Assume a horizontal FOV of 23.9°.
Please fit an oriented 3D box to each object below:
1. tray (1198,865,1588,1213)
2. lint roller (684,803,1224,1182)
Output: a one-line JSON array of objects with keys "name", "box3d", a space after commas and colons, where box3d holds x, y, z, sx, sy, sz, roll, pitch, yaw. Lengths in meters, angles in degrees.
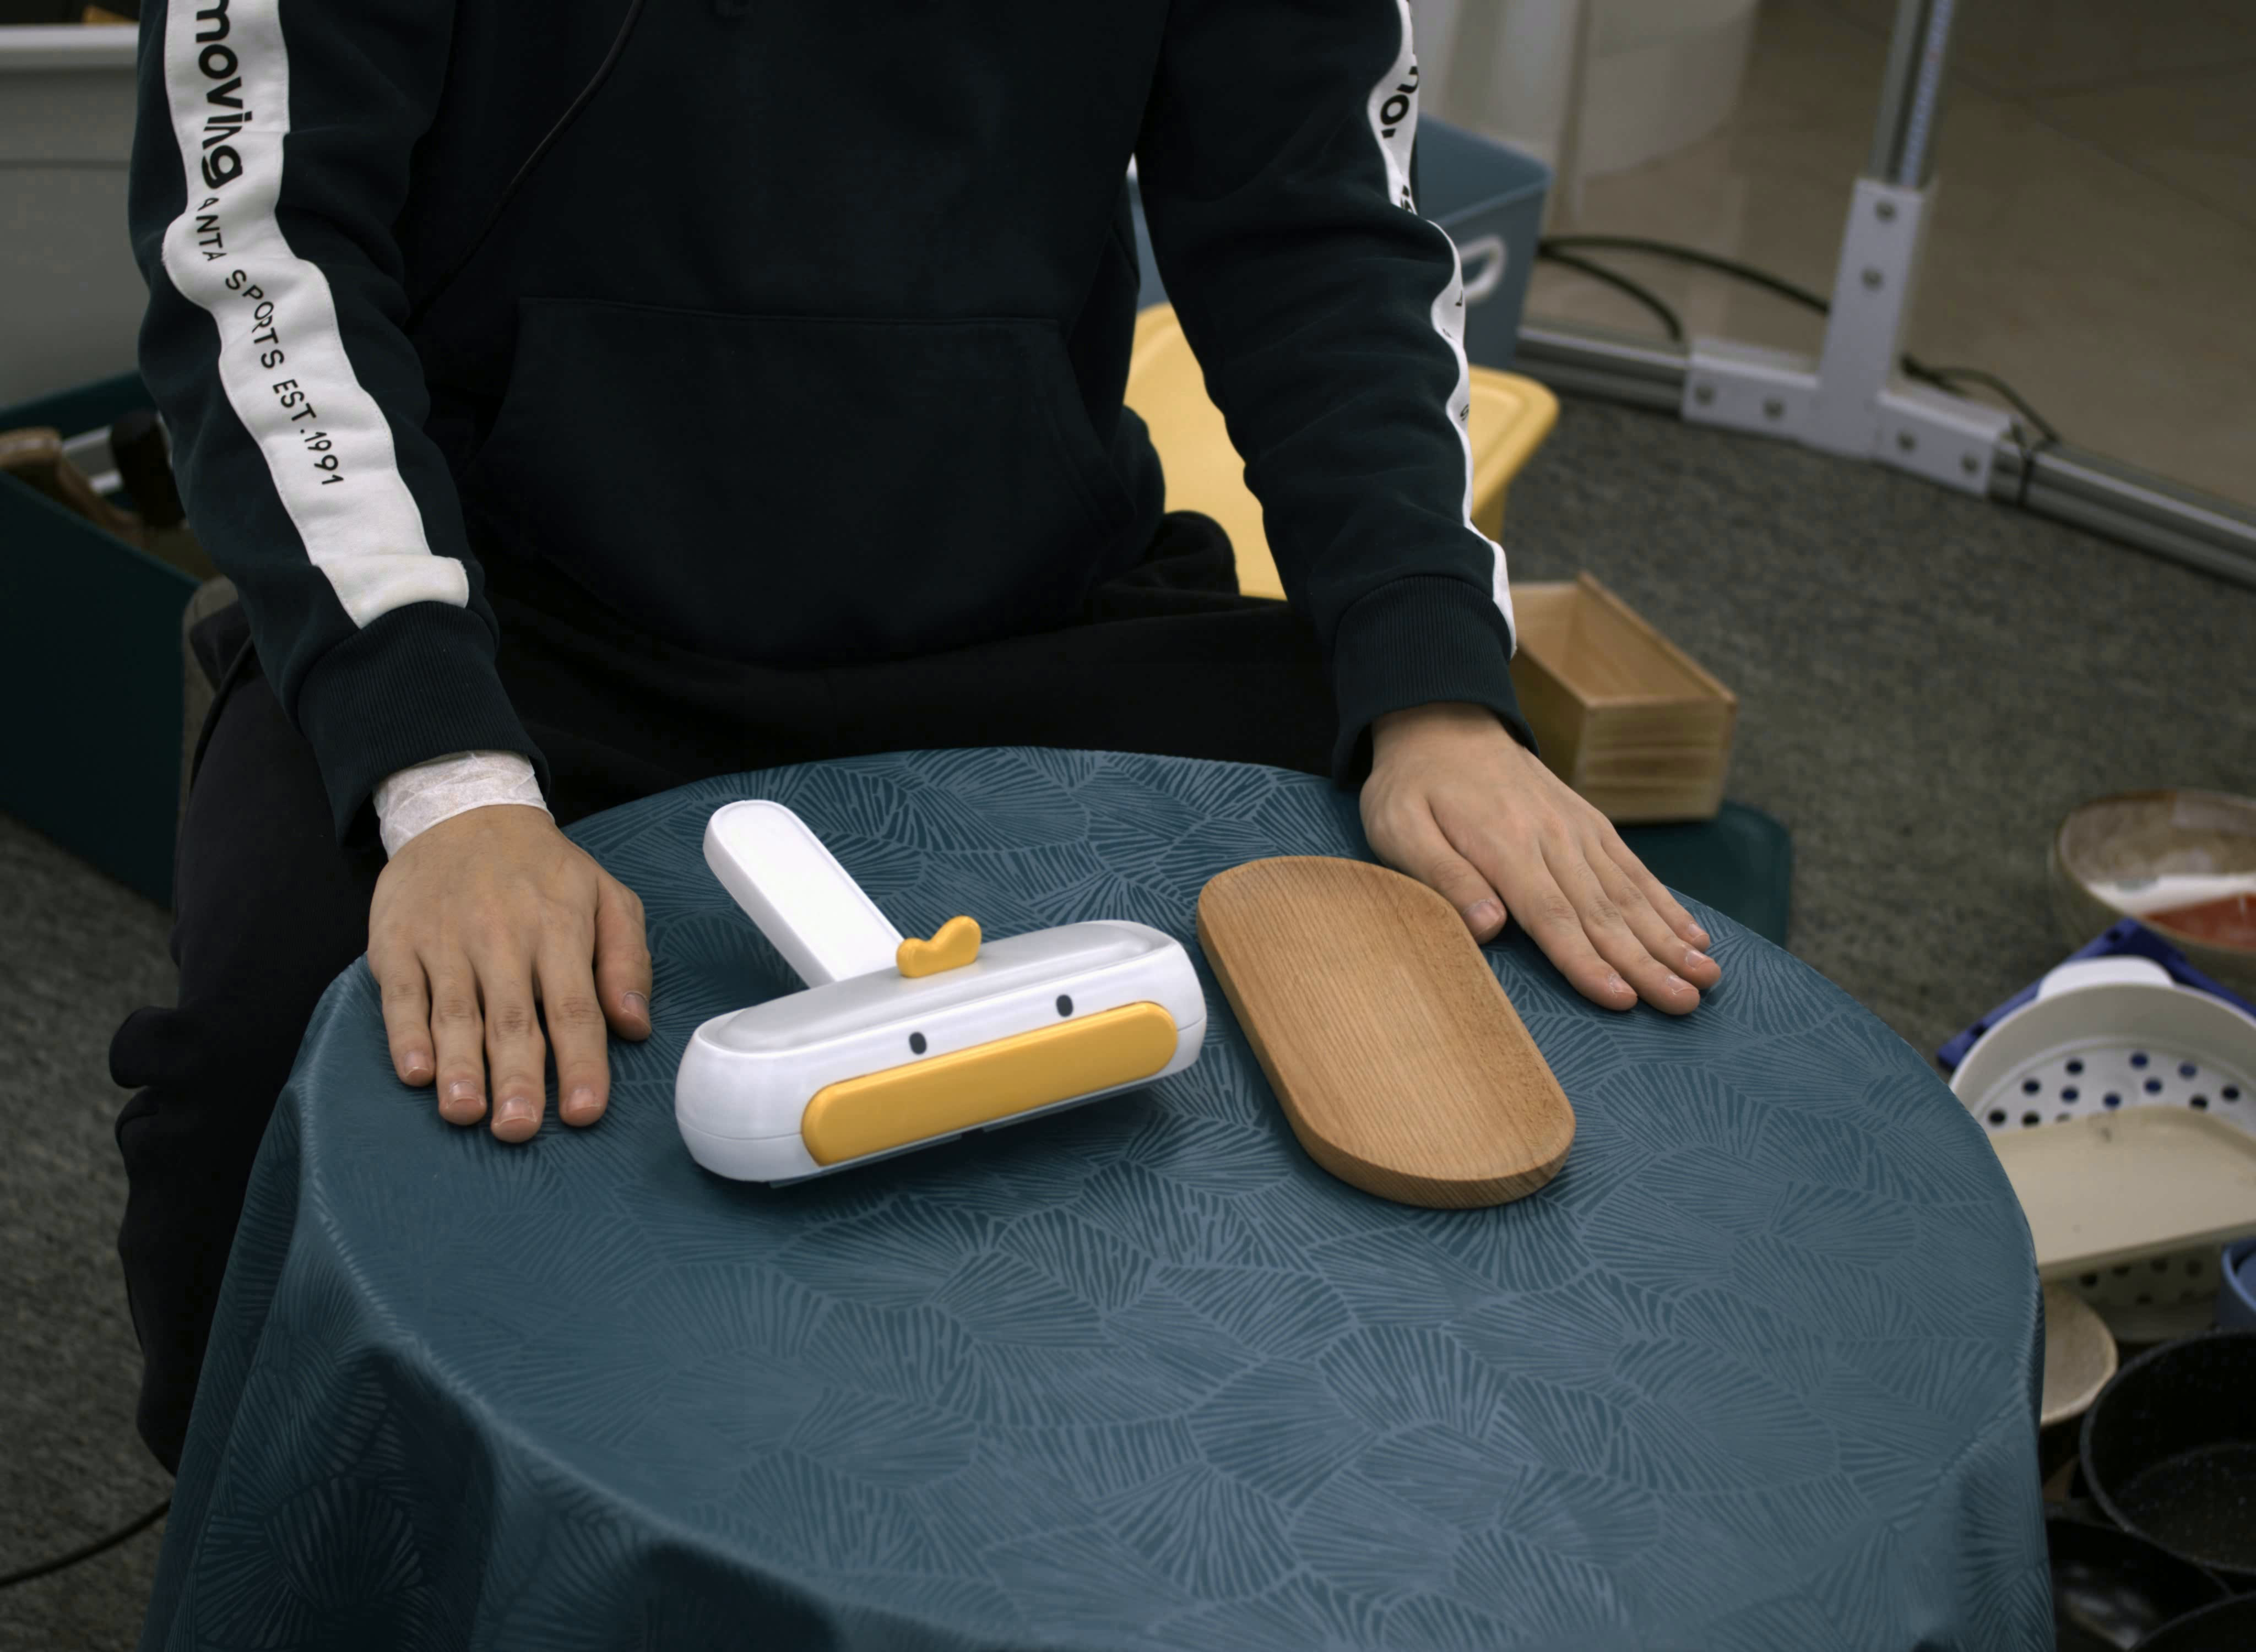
[{"name": "tray", "box3d": [0.092, 0.074, 1.899, 0.101, 0.020, 0.233, -2, 29, -15]}, {"name": "lint roller", "box3d": [-0.090, 0.048, 1.853, 0.192, 0.074, 0.194, -20, 30, -29]}]
